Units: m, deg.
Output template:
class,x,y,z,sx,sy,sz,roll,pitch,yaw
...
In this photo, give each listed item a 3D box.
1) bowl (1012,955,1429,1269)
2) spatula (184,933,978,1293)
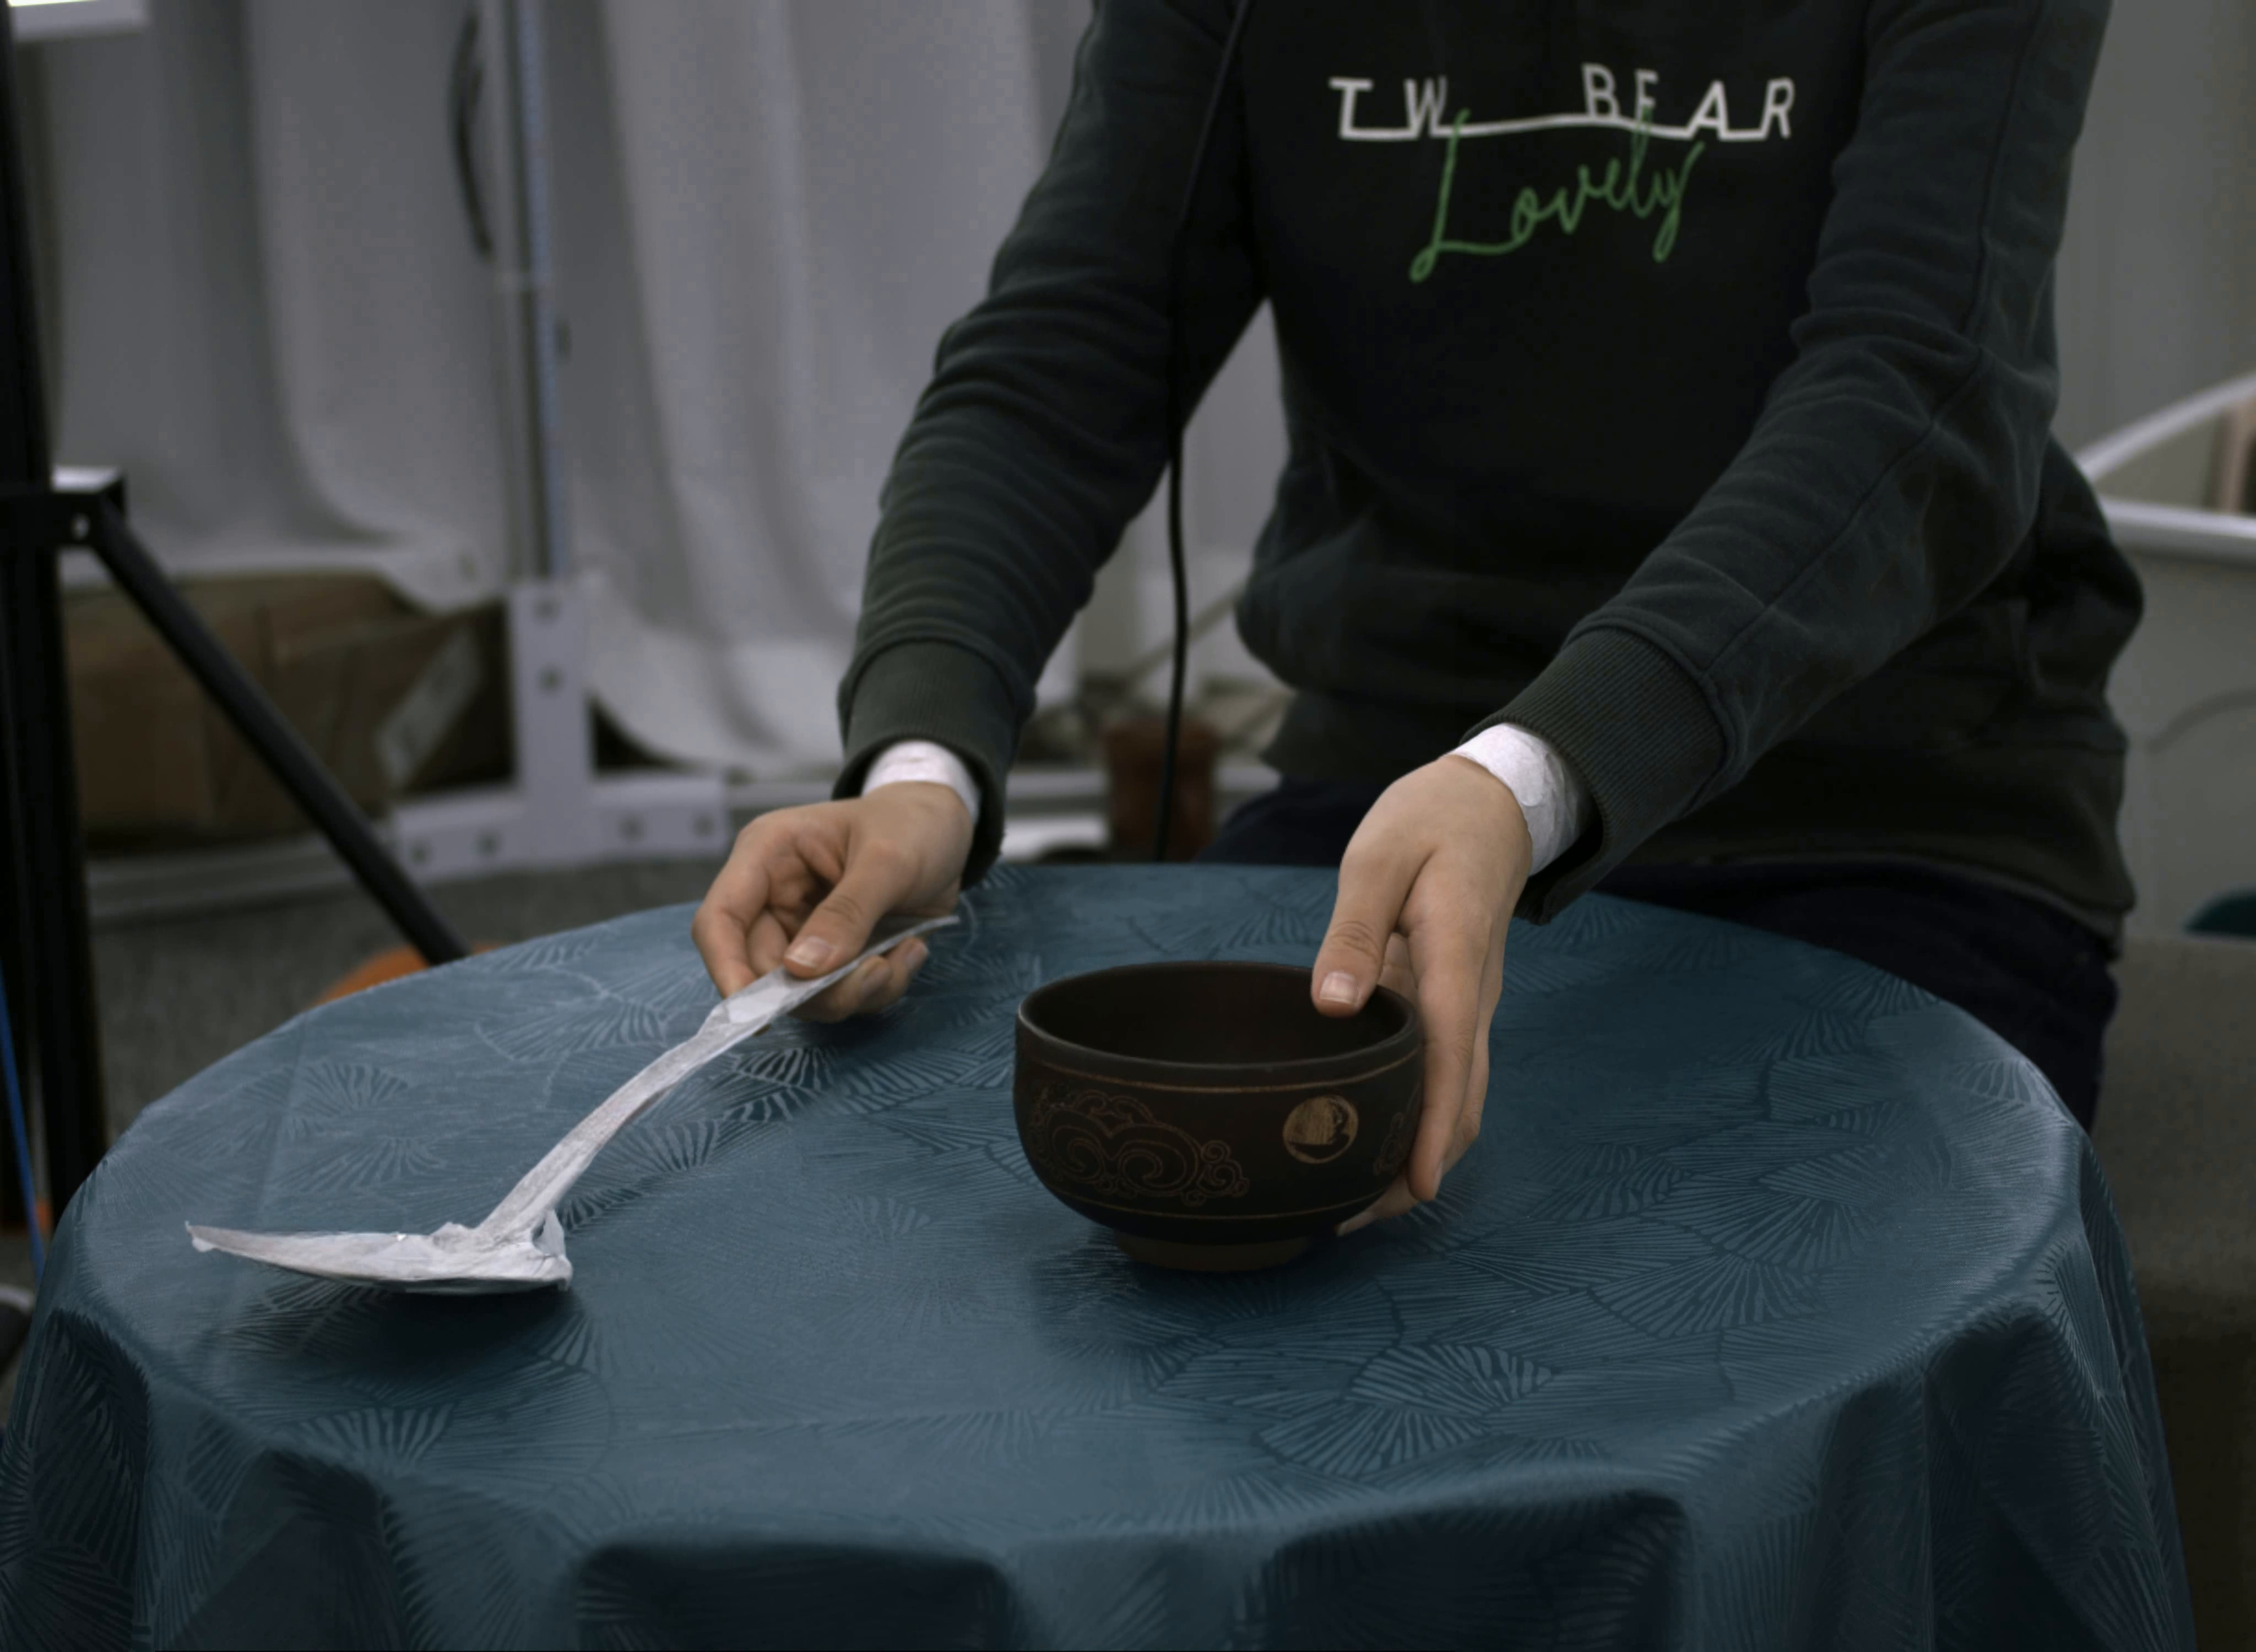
class,x,y,z,sx,sy,sz,roll,pitch,yaw
bowl,0.026,0.084,1.499,0.117,0.070,0.118,2,13,-2
spatula,-0.142,0.077,1.594,0.100,0.044,0.359,4,21,28
